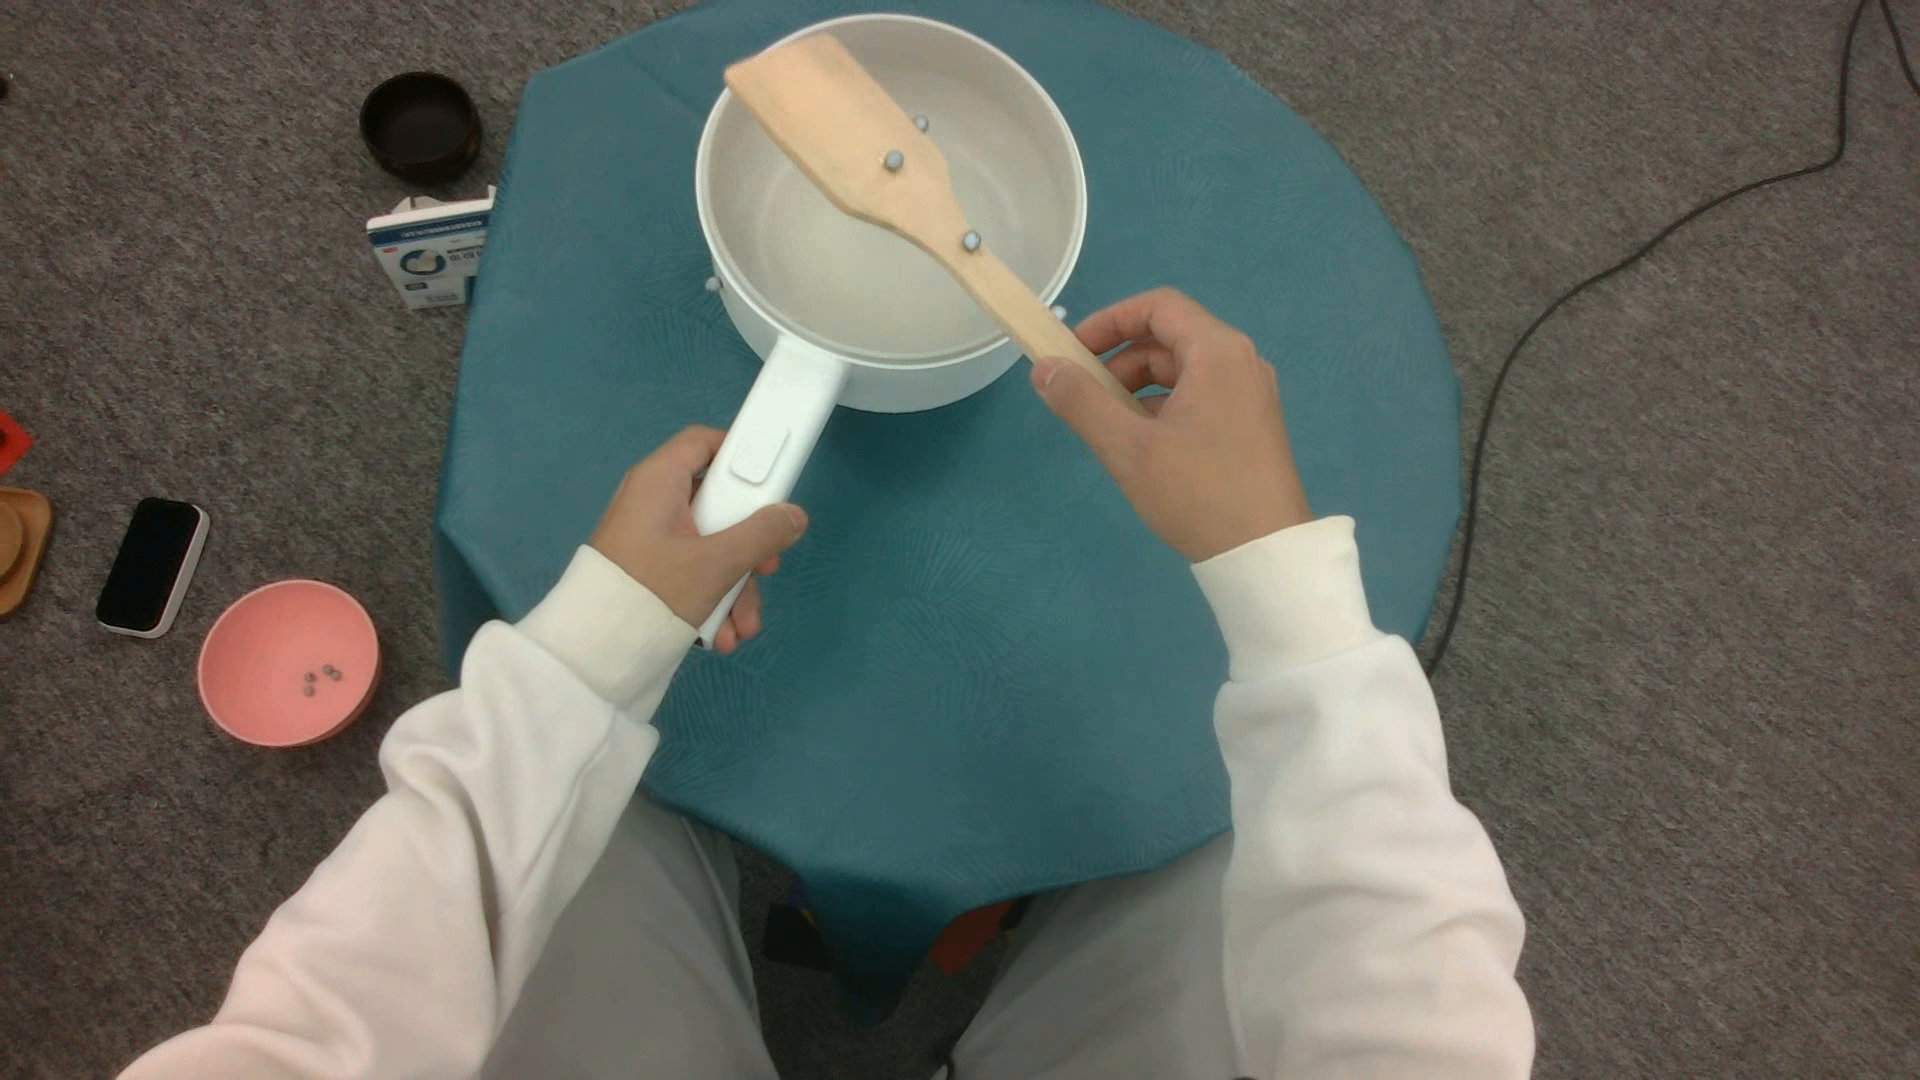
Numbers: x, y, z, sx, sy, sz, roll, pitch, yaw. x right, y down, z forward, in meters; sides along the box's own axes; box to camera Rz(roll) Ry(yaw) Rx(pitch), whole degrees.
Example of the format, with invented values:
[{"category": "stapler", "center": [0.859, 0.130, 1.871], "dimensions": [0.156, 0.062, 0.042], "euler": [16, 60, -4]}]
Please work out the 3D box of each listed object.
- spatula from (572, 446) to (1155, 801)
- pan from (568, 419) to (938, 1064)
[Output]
[{"category": "spatula", "center": [-0.041, 0.039, 0.633], "dimensions": [0.293, 0.010, 0.072], "euler": [29, 39, 11]}, {"category": "pan", "center": [-0.125, 0.104, 0.754], "dimensions": [0.201, 0.101, 0.356], "euler": [8, 59, 1]}]
